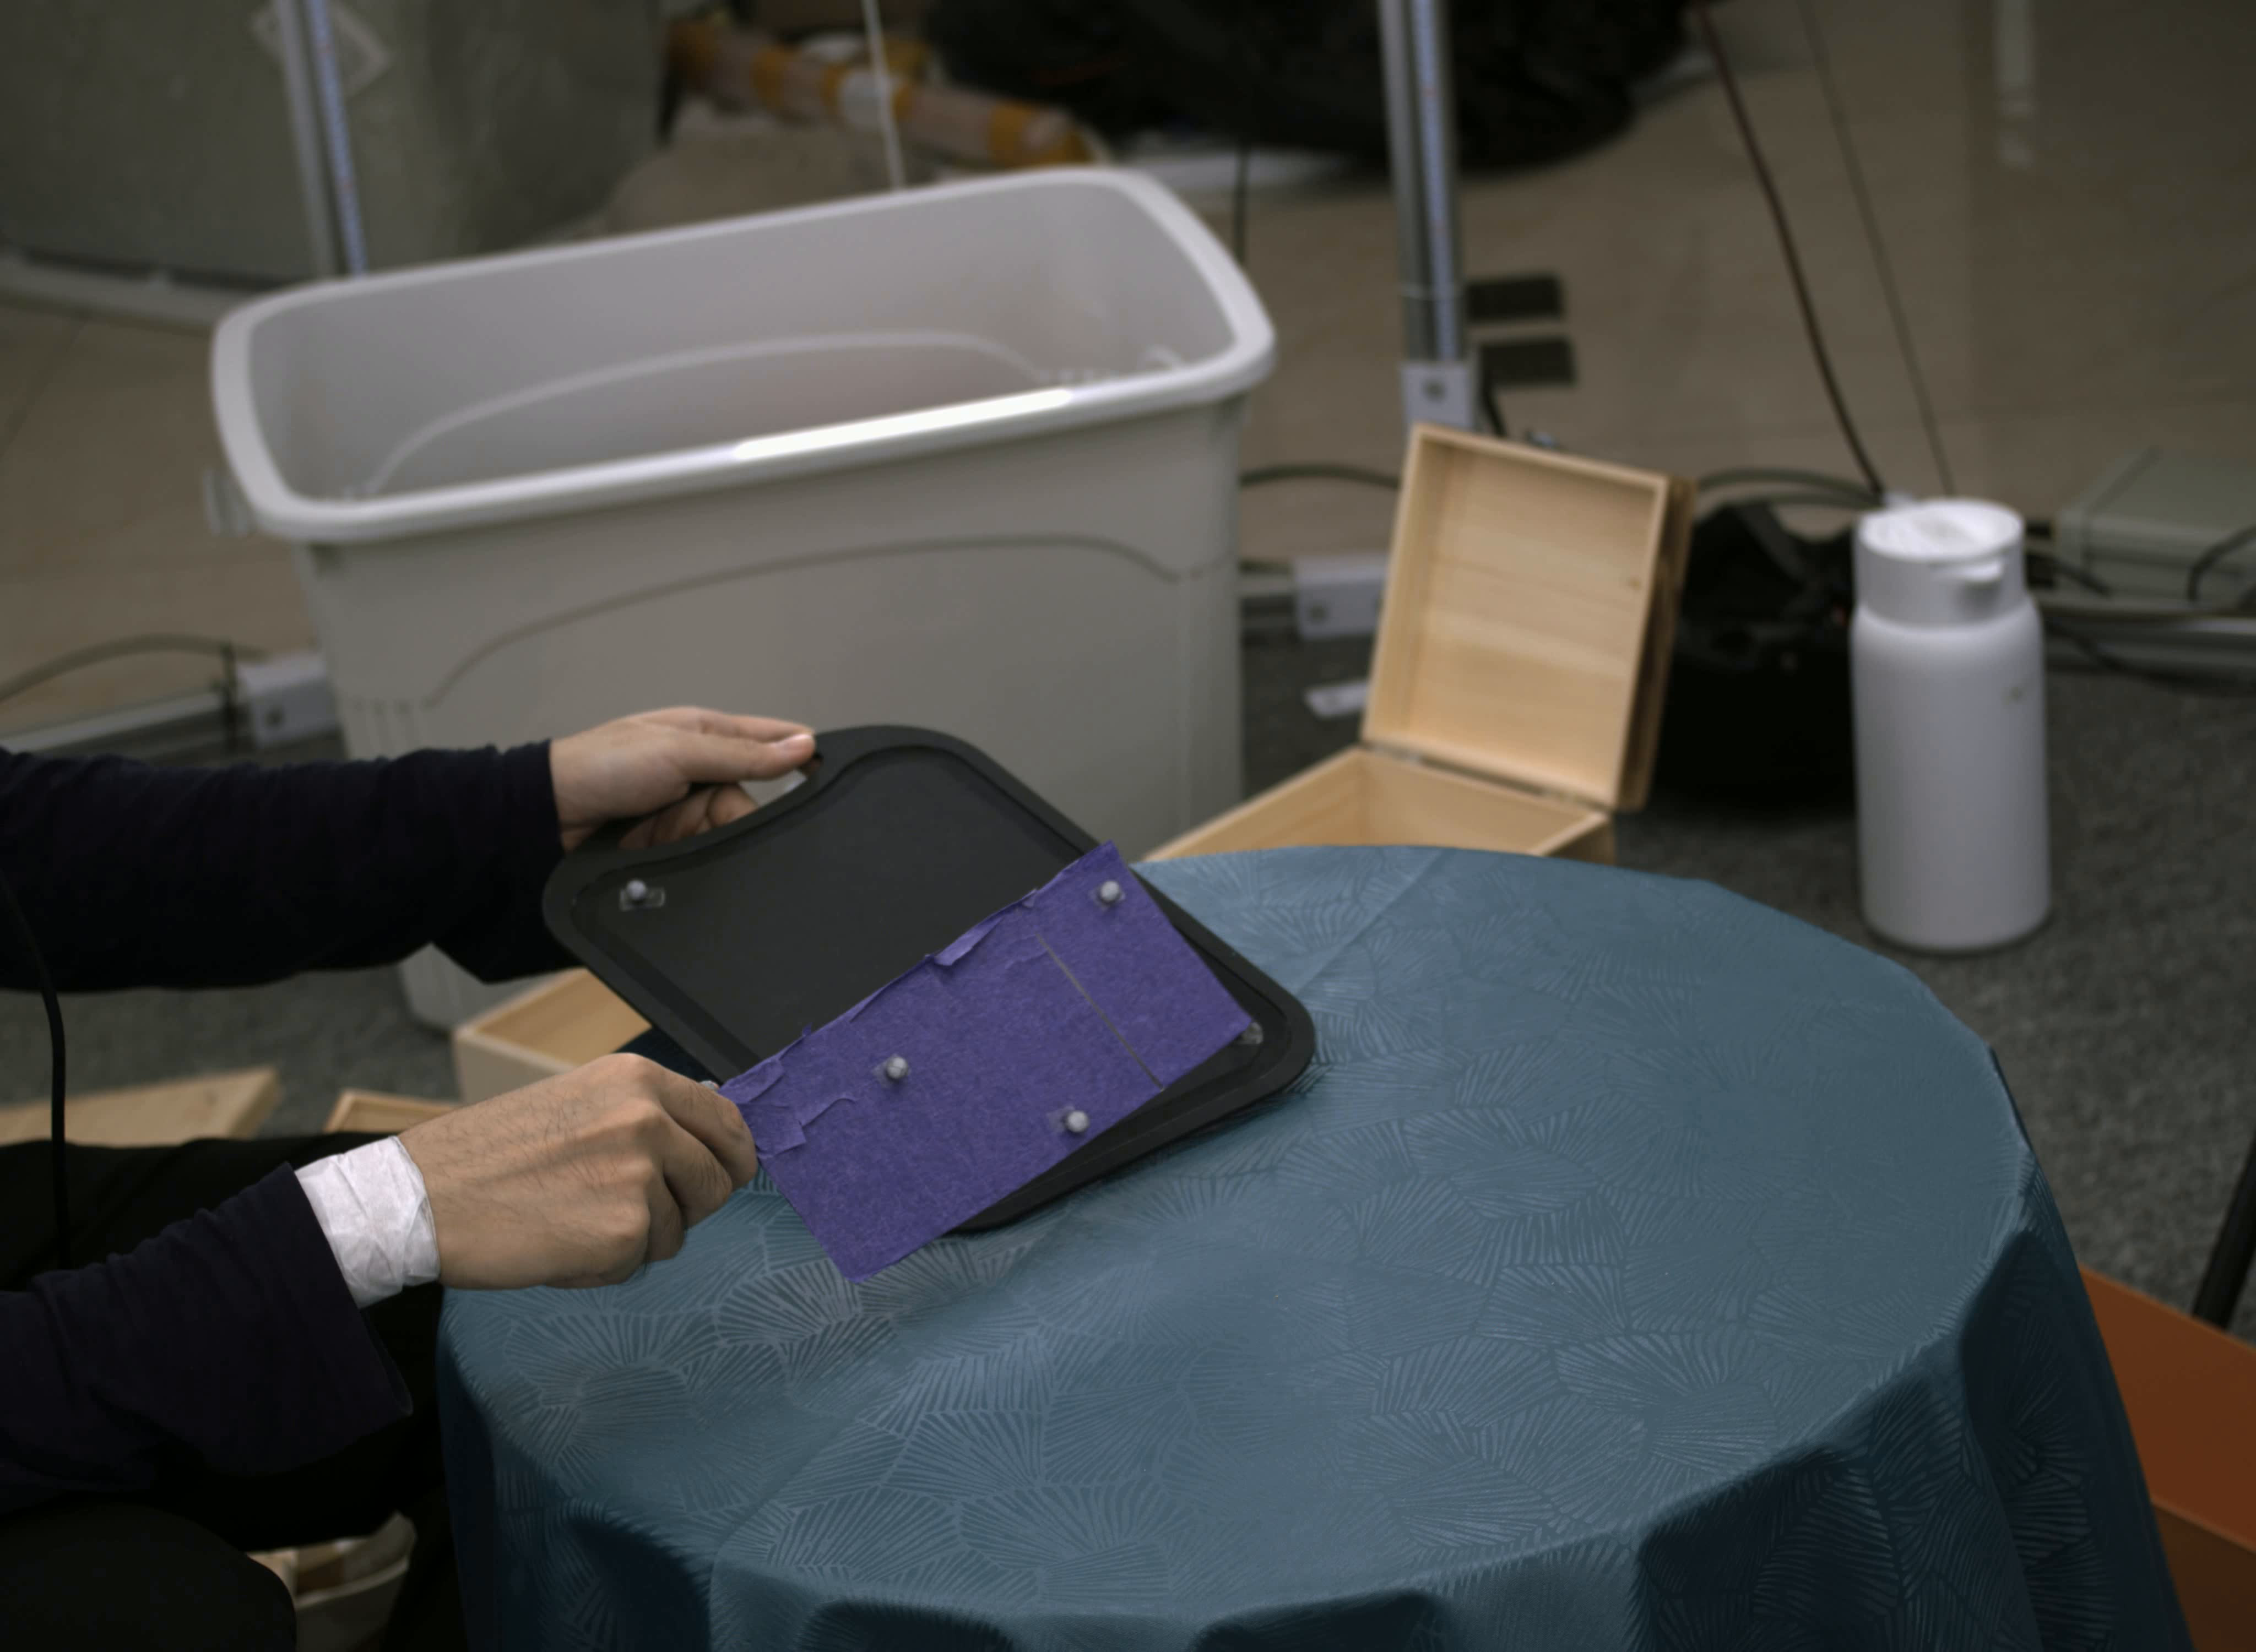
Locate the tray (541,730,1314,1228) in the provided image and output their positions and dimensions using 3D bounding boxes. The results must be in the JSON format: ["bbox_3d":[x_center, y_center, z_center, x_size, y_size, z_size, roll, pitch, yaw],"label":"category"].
[{"bbox_3d":[-0.089,0.051,2.272,0.209,0.010,0.321,-25,42,-28],"label":"tray"}]

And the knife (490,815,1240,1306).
[{"bbox_3d":[-0.087,0.106,2.076,0.312,0.032,0.103,-34,81,-30],"label":"knife"}]
